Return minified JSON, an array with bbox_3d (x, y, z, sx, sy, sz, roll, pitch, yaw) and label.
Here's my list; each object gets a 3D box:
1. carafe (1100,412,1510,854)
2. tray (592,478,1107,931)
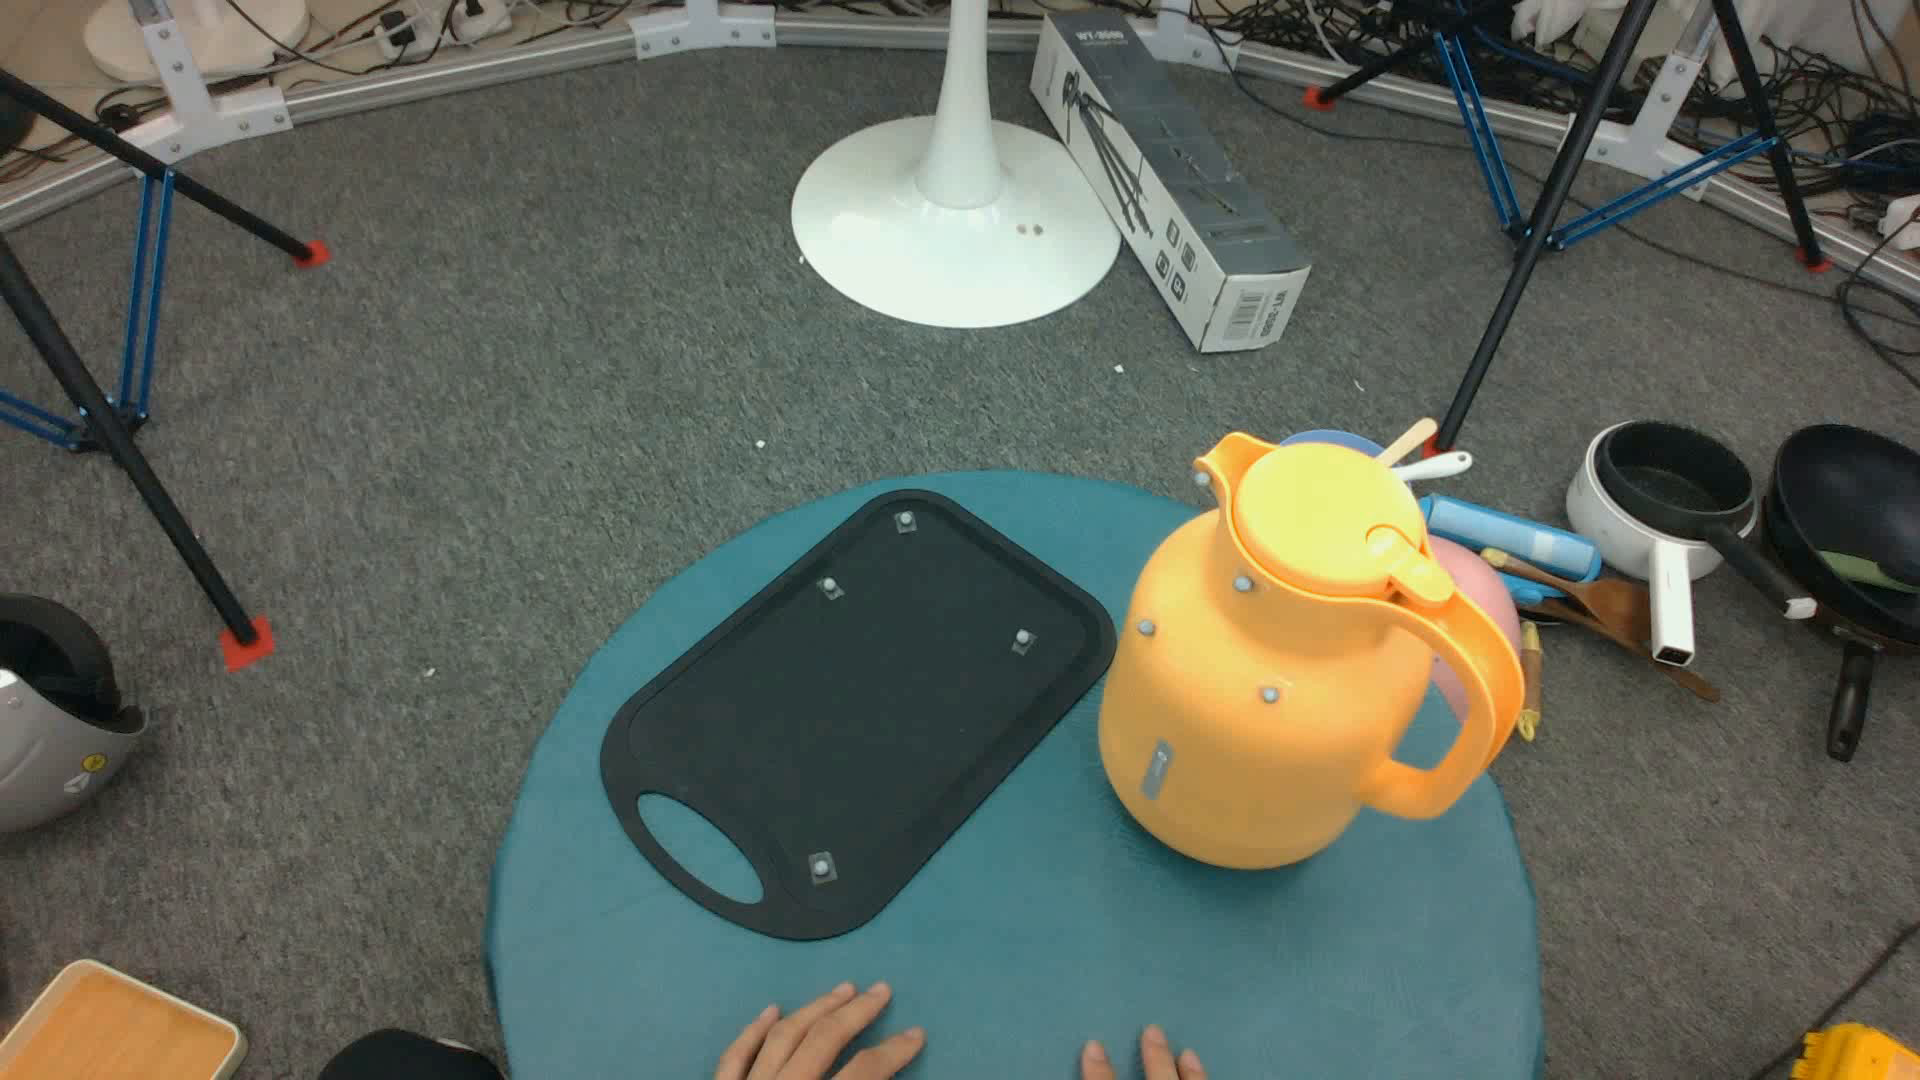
[{"bbox_3d":[0.179,0.063,0.741,0.164,0.259,0.202,-35,60,-25],"label":"carafe"},{"bbox_3d":[-0.067,0.091,0.861,0.211,0.010,0.327,34,57,21],"label":"tray"}]
